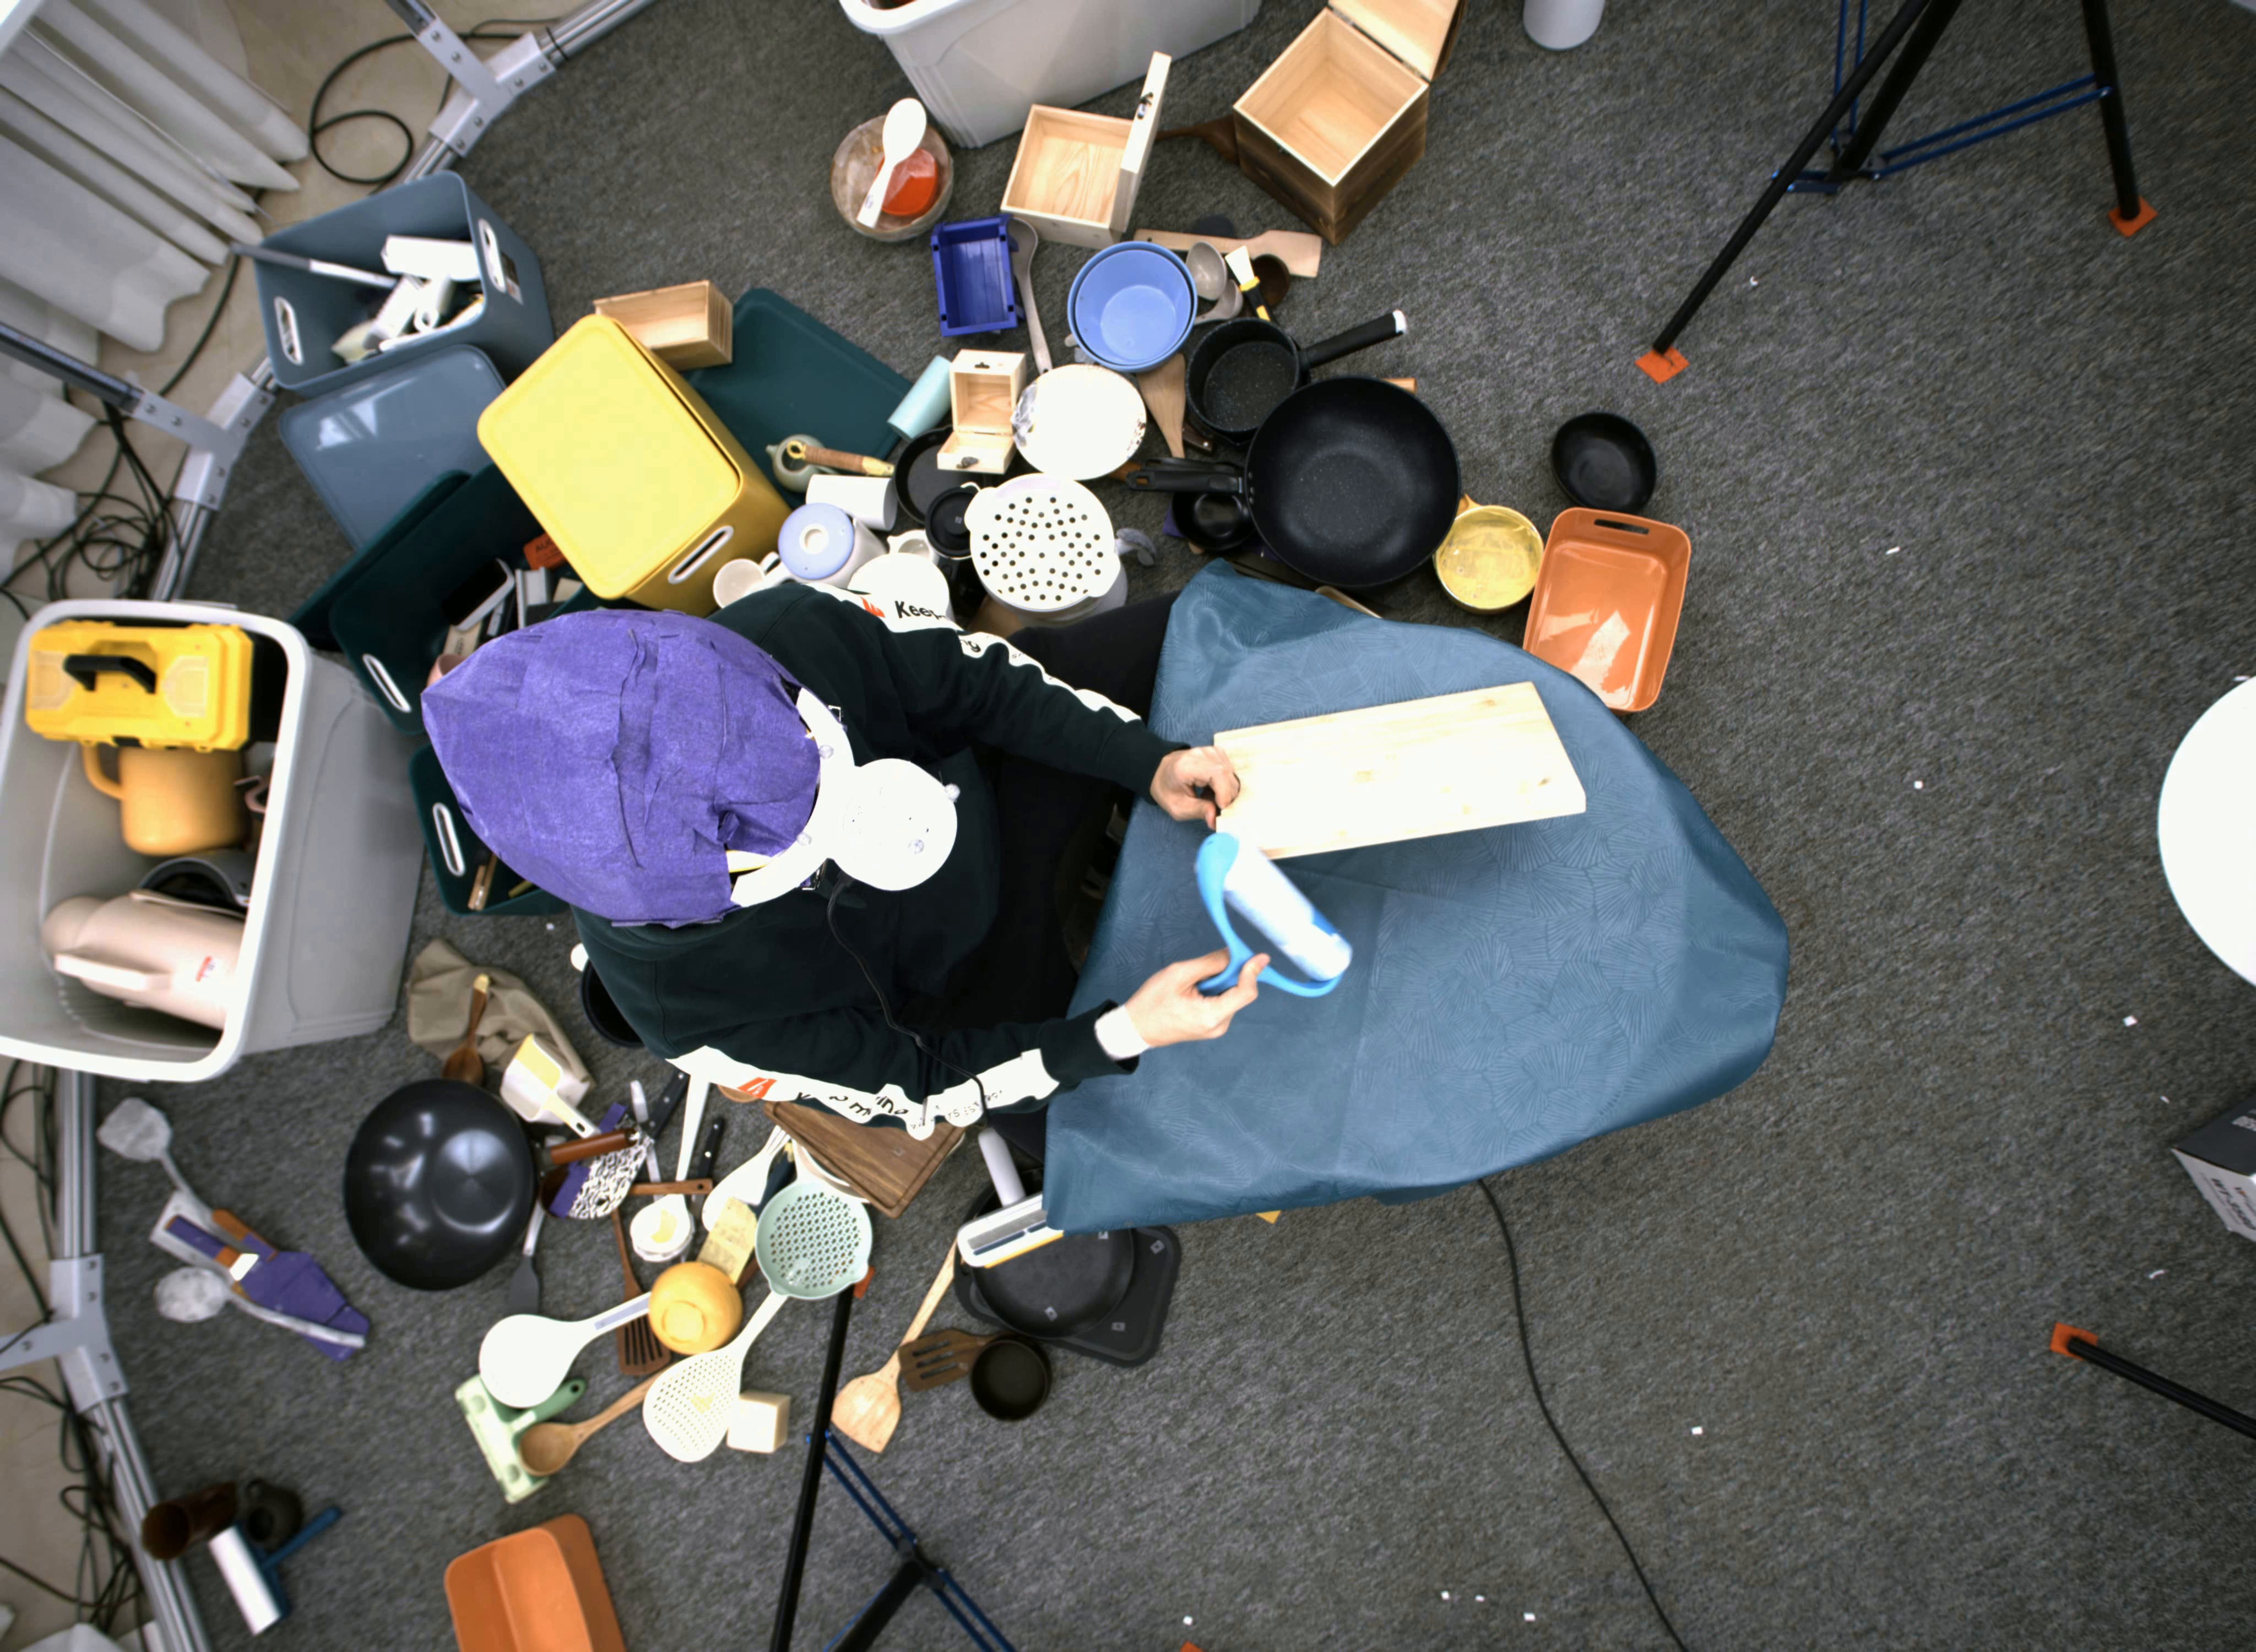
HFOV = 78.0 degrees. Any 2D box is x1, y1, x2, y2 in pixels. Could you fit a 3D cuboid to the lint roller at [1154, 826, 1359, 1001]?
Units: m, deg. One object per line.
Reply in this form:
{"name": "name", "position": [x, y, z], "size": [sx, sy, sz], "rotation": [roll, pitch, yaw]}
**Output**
{"name": "lint roller", "position": [0.104, 0.116, 1.308], "size": [0.181, 0.231, 0.067], "rotation": [-44, 38, 9]}

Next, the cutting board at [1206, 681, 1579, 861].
{"name": "cutting board", "position": [0.250, -0.056, 1.365], "size": [0.350, 0.244, 0.024], "rotation": [-10, 122, 8]}
